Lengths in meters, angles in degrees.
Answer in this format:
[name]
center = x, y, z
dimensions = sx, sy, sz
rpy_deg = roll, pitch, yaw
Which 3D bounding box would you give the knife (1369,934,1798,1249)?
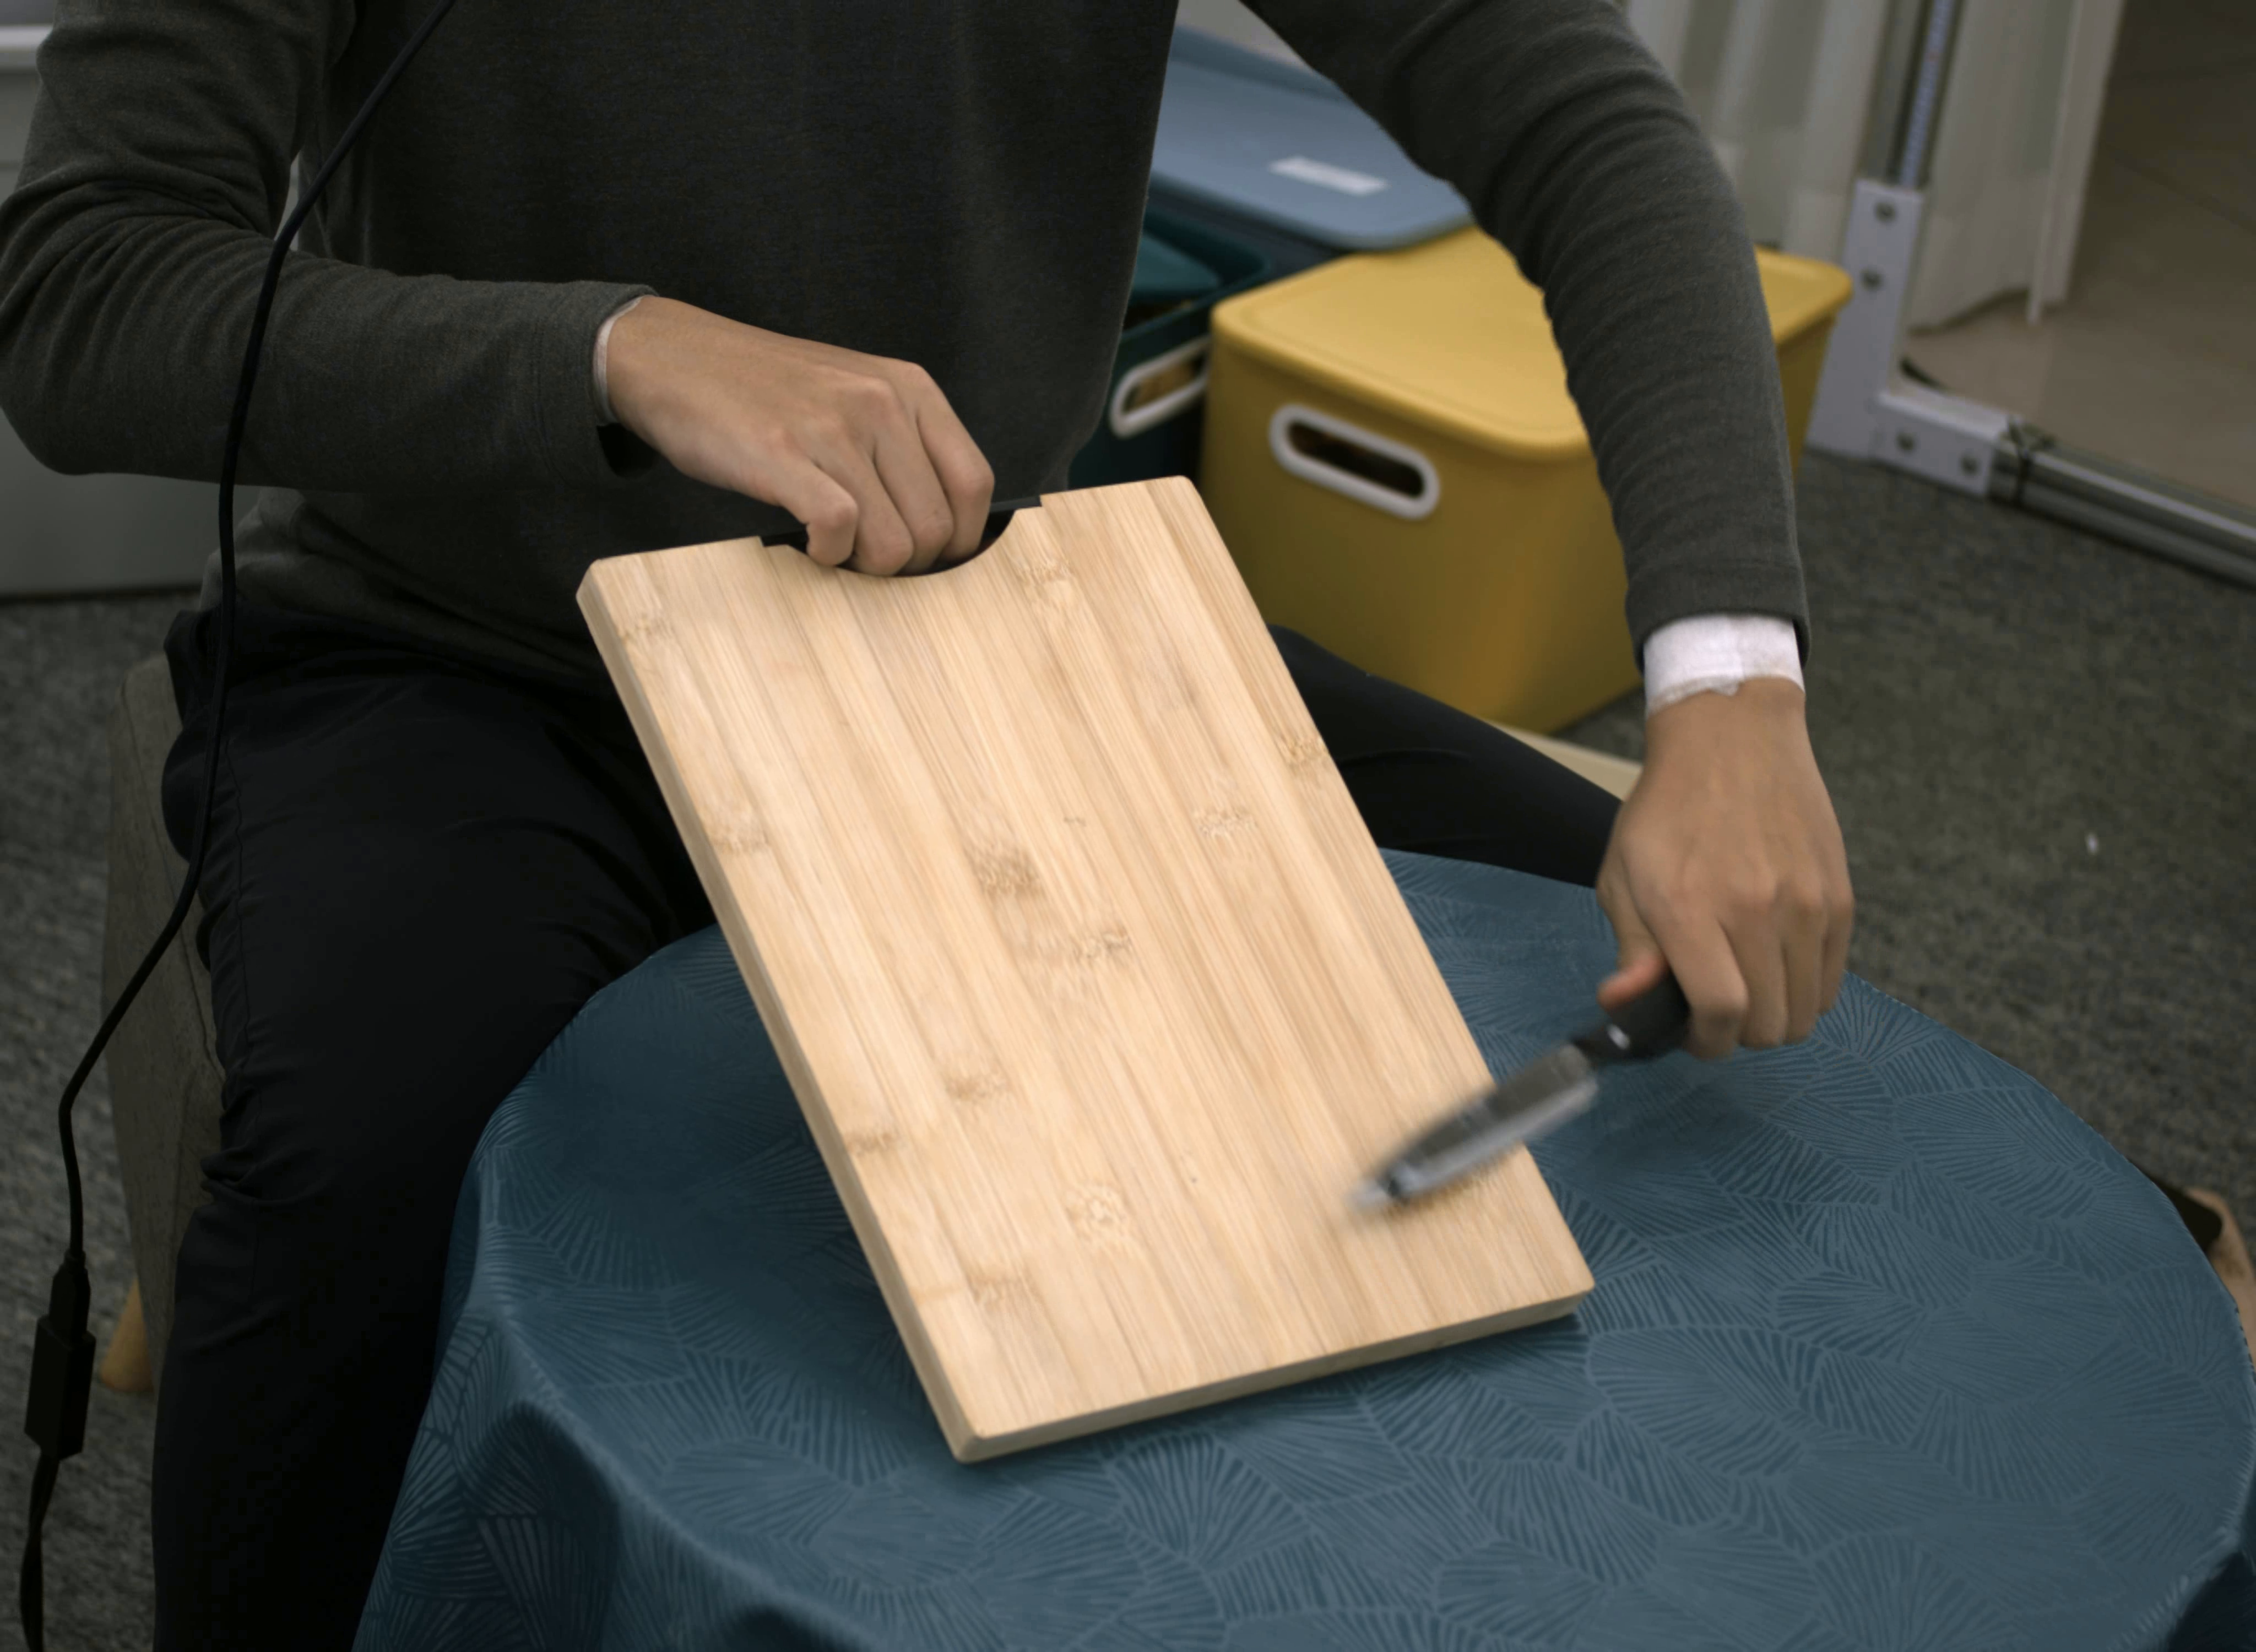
[knife]
center = 0.153, 0.088, 1.796
dimensions = 0.237, 0.016, 0.024
rpy_deg = -31, 84, -42

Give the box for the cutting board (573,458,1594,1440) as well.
[cutting board]
center = -0.018, 0.032, 1.776
dimensions = 0.249, 0.023, 0.351
rpy_deg = -10, 61, -31
